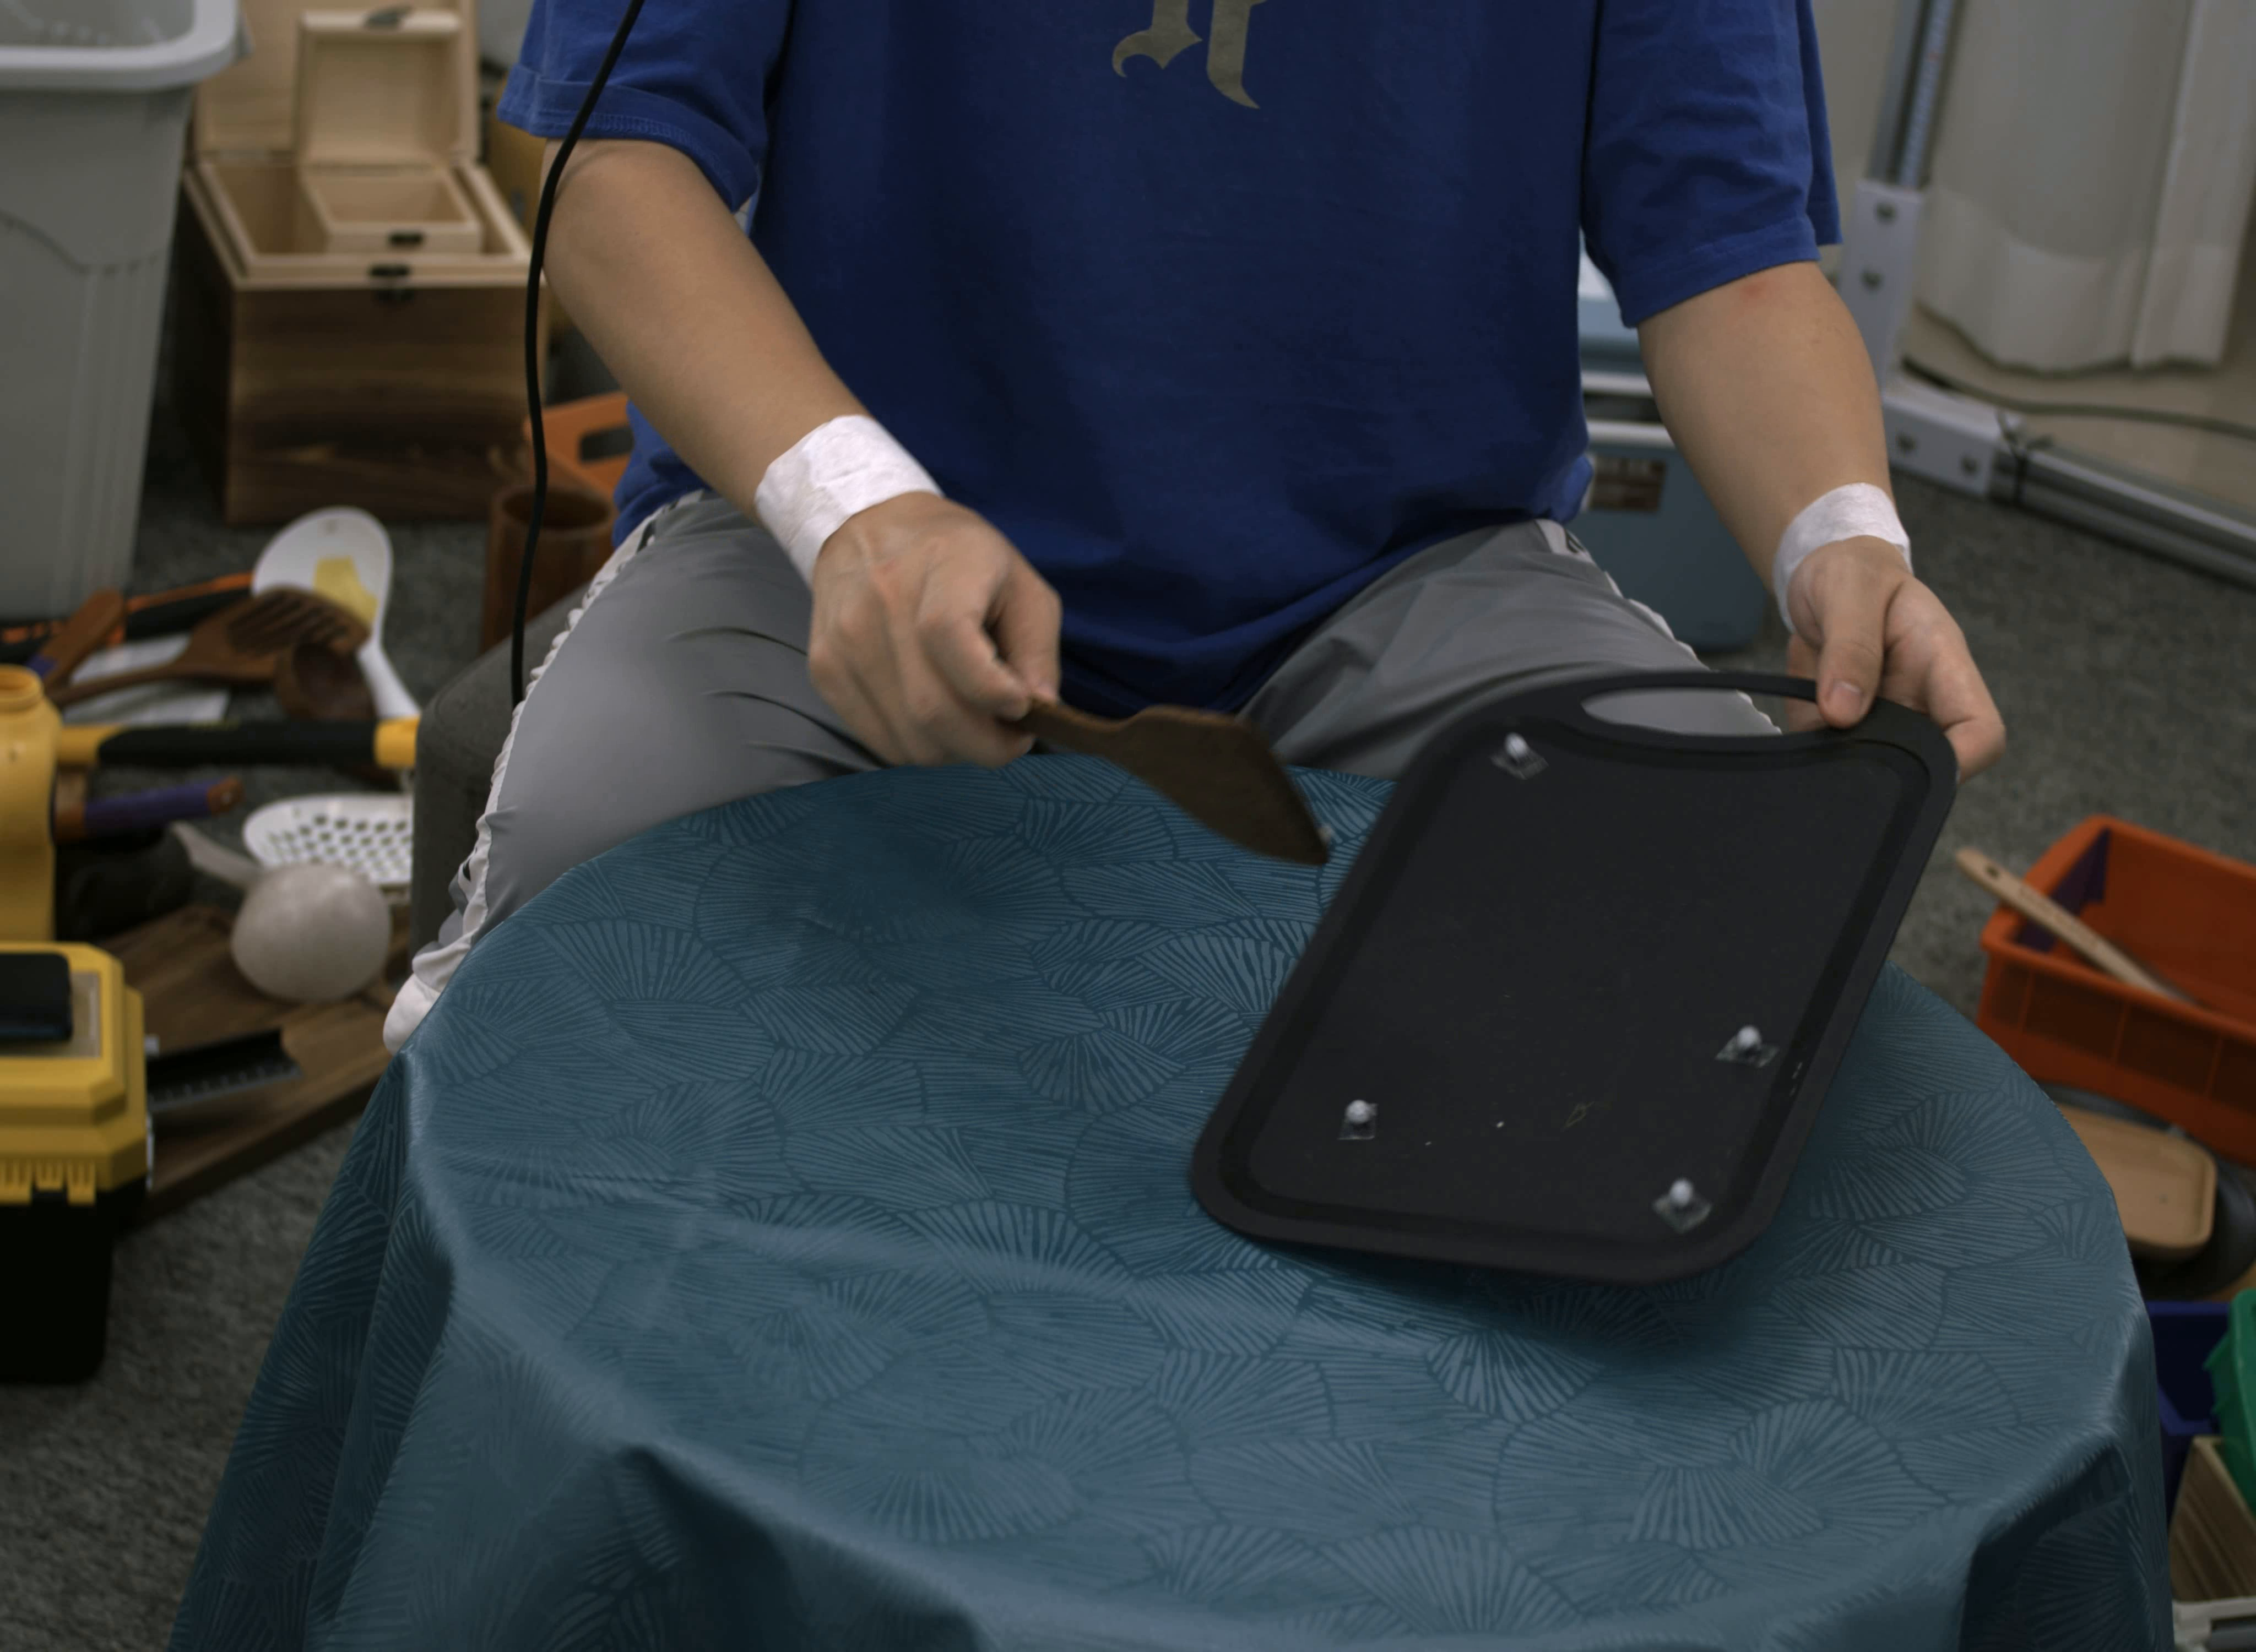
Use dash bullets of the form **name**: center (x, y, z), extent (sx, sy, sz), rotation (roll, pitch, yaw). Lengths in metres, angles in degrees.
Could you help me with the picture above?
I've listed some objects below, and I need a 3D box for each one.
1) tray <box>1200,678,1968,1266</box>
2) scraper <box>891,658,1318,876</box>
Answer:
- **tray**: center (0.165, 0.041, 1.865), extent (0.212, 0.010, 0.326), rotation (3, 38, 27)
- **scraper**: center (-0.015, -0.028, 1.874), extent (0.011, 0.075, 0.213), rotation (-48, 38, -18)
